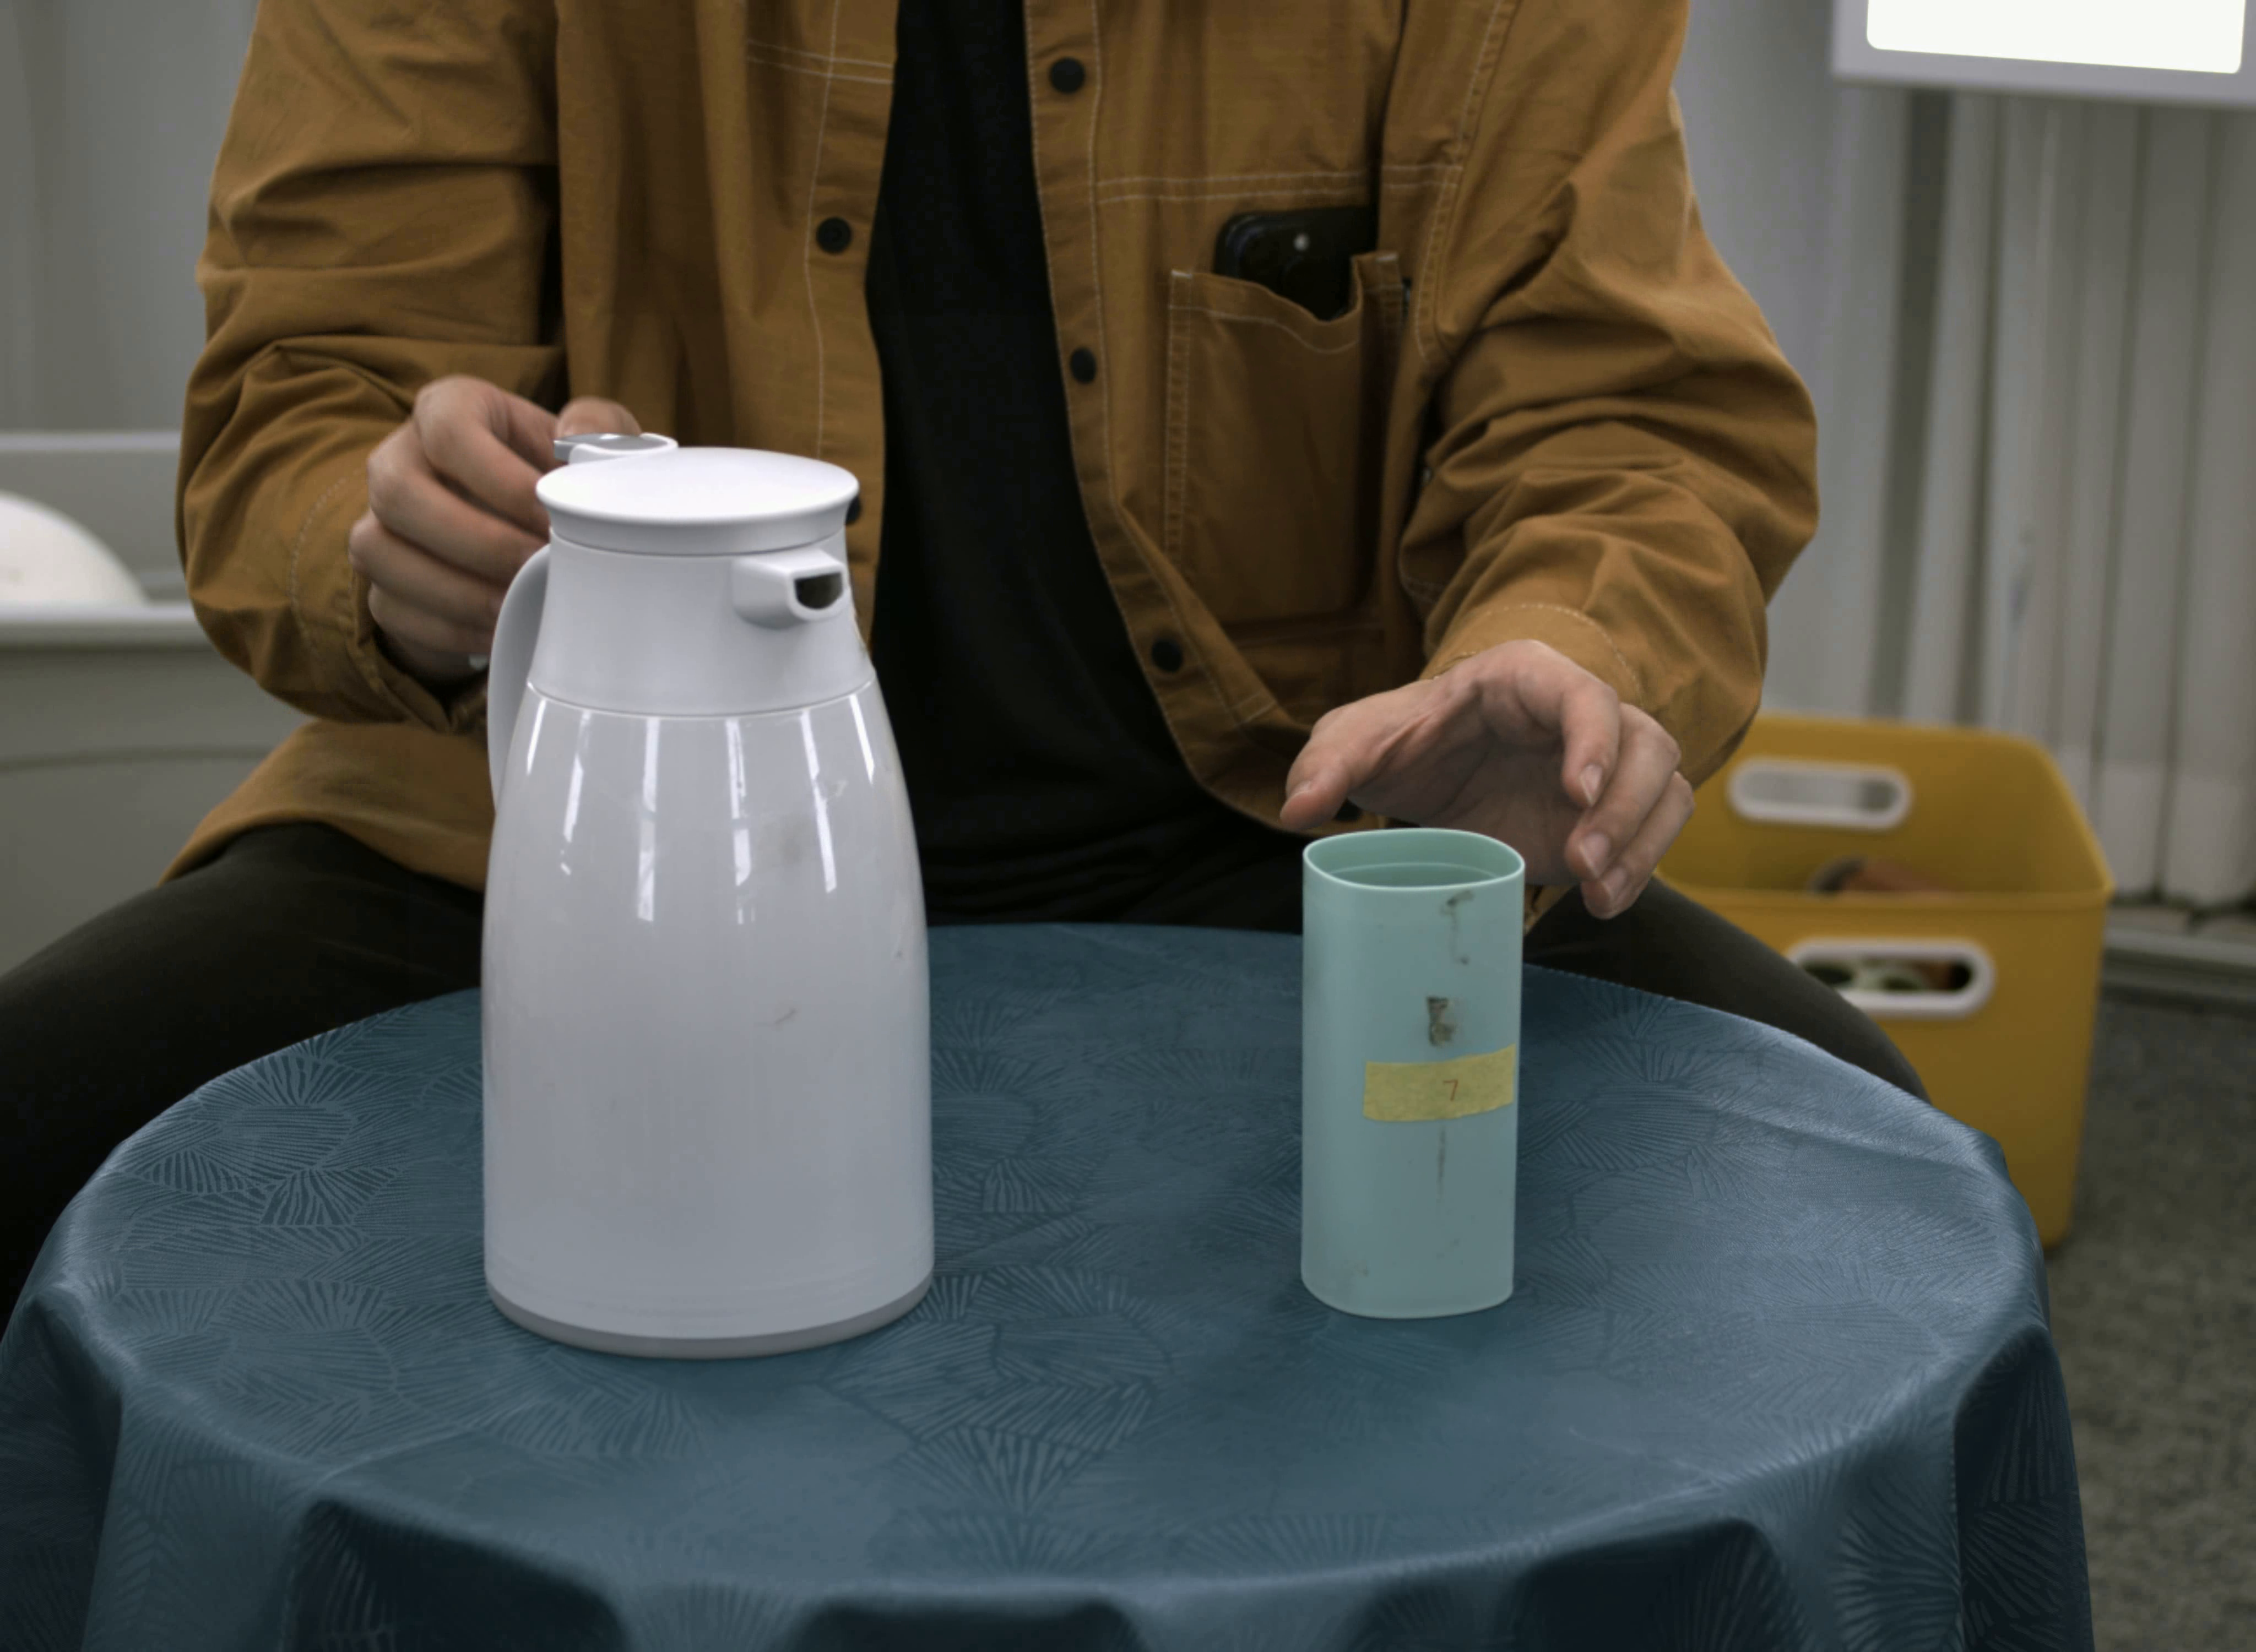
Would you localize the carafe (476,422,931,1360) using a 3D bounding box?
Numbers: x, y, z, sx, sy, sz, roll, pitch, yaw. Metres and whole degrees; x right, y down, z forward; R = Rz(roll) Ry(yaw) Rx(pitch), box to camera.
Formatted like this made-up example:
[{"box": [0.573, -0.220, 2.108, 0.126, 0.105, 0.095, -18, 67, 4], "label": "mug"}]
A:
[{"box": [-0.135, 0.010, 1.521, 0.133, 0.250, 0.165, -13, 20, -37], "label": "carafe"}]

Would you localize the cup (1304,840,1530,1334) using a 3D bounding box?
[{"box": [0.082, 0.074, 1.529, 0.066, 0.133, 0.066, 1, 16, 0], "label": "cup"}]
